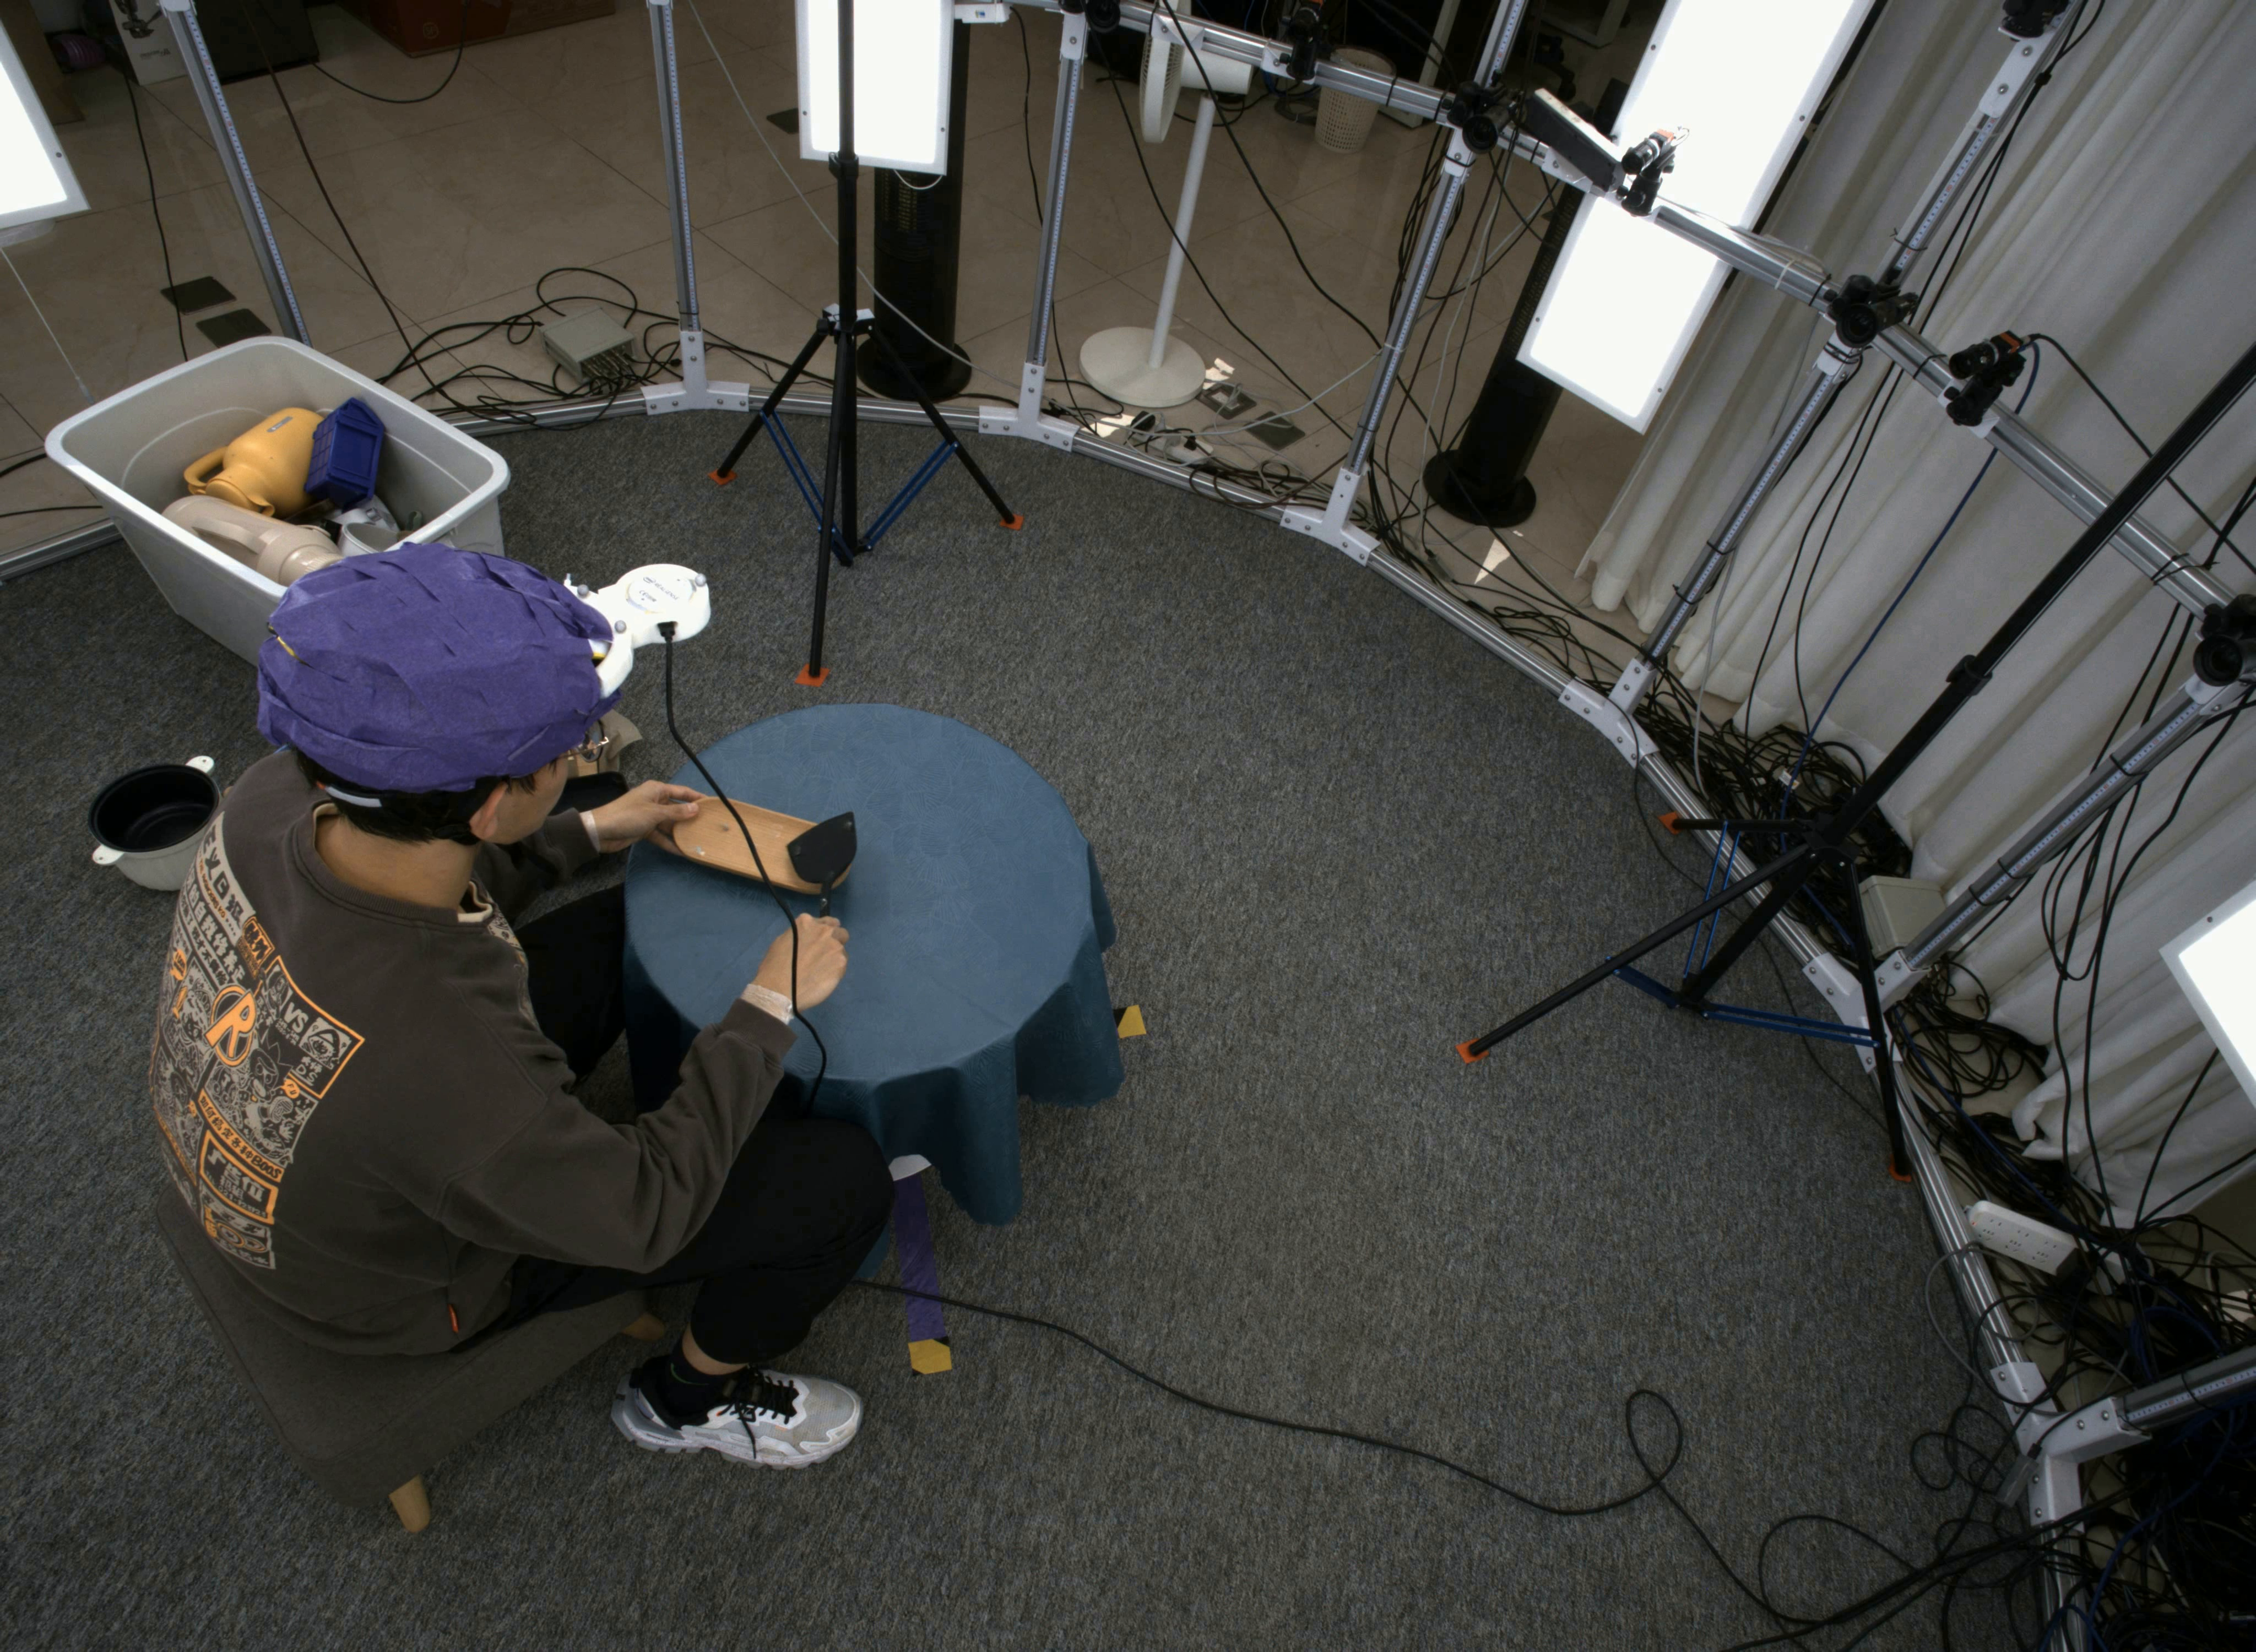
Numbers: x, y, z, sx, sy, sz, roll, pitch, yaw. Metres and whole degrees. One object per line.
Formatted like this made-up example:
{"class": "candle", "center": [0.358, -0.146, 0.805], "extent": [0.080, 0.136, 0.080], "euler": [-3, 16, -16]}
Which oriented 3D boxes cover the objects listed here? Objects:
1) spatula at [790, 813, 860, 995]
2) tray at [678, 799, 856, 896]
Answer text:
{"class": "spatula", "center": [-0.361, 0.091, 1.538], "extent": [0.099, 0.042, 0.317], "euler": [-27, 30, 7]}
{"class": "tray", "center": [-0.464, 0.026, 1.665], "extent": [0.230, 0.020, 0.100], "euler": [17, 56, -5]}
